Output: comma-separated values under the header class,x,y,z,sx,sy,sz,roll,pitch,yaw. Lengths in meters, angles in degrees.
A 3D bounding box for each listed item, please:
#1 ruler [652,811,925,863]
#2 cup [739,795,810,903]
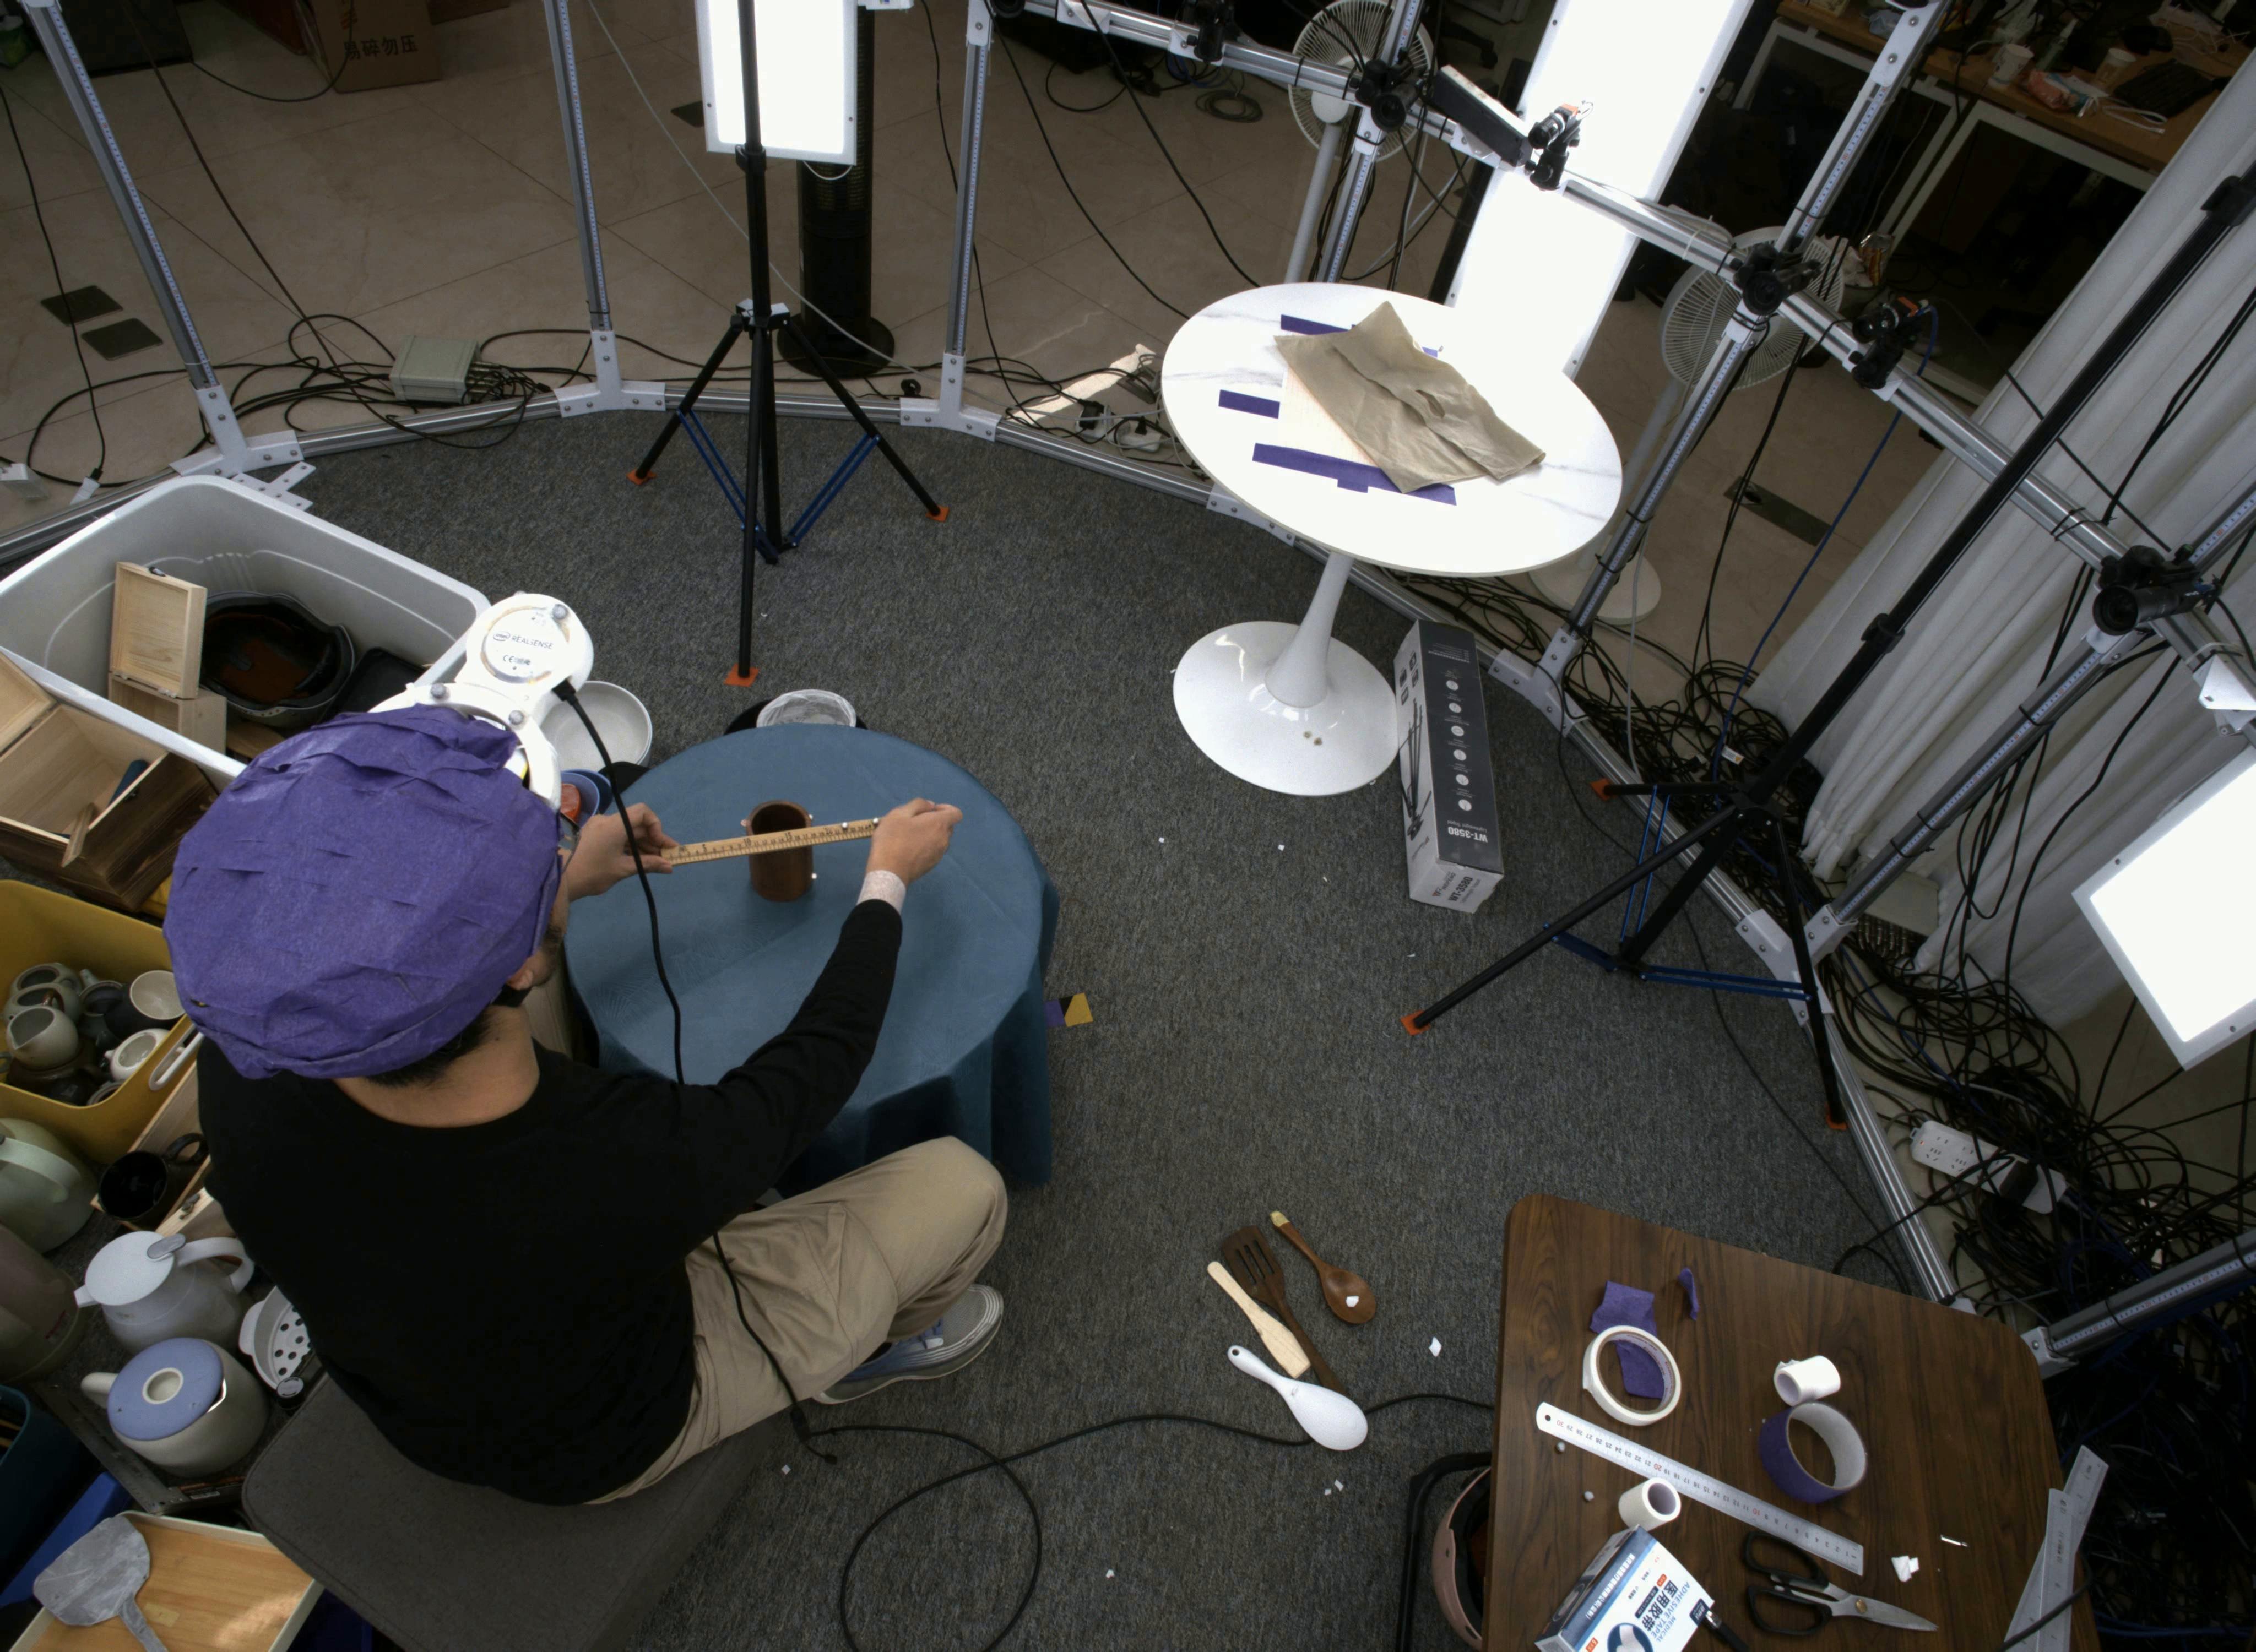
class,x,y,z,sx,sy,sz,roll,pitch,yaw
ruler,-0.404,0.009,1.566,0.335,0.022,0.027,-8,55,-29
cup,-0.440,0.028,1.618,0.087,0.121,0.086,6,51,-6
